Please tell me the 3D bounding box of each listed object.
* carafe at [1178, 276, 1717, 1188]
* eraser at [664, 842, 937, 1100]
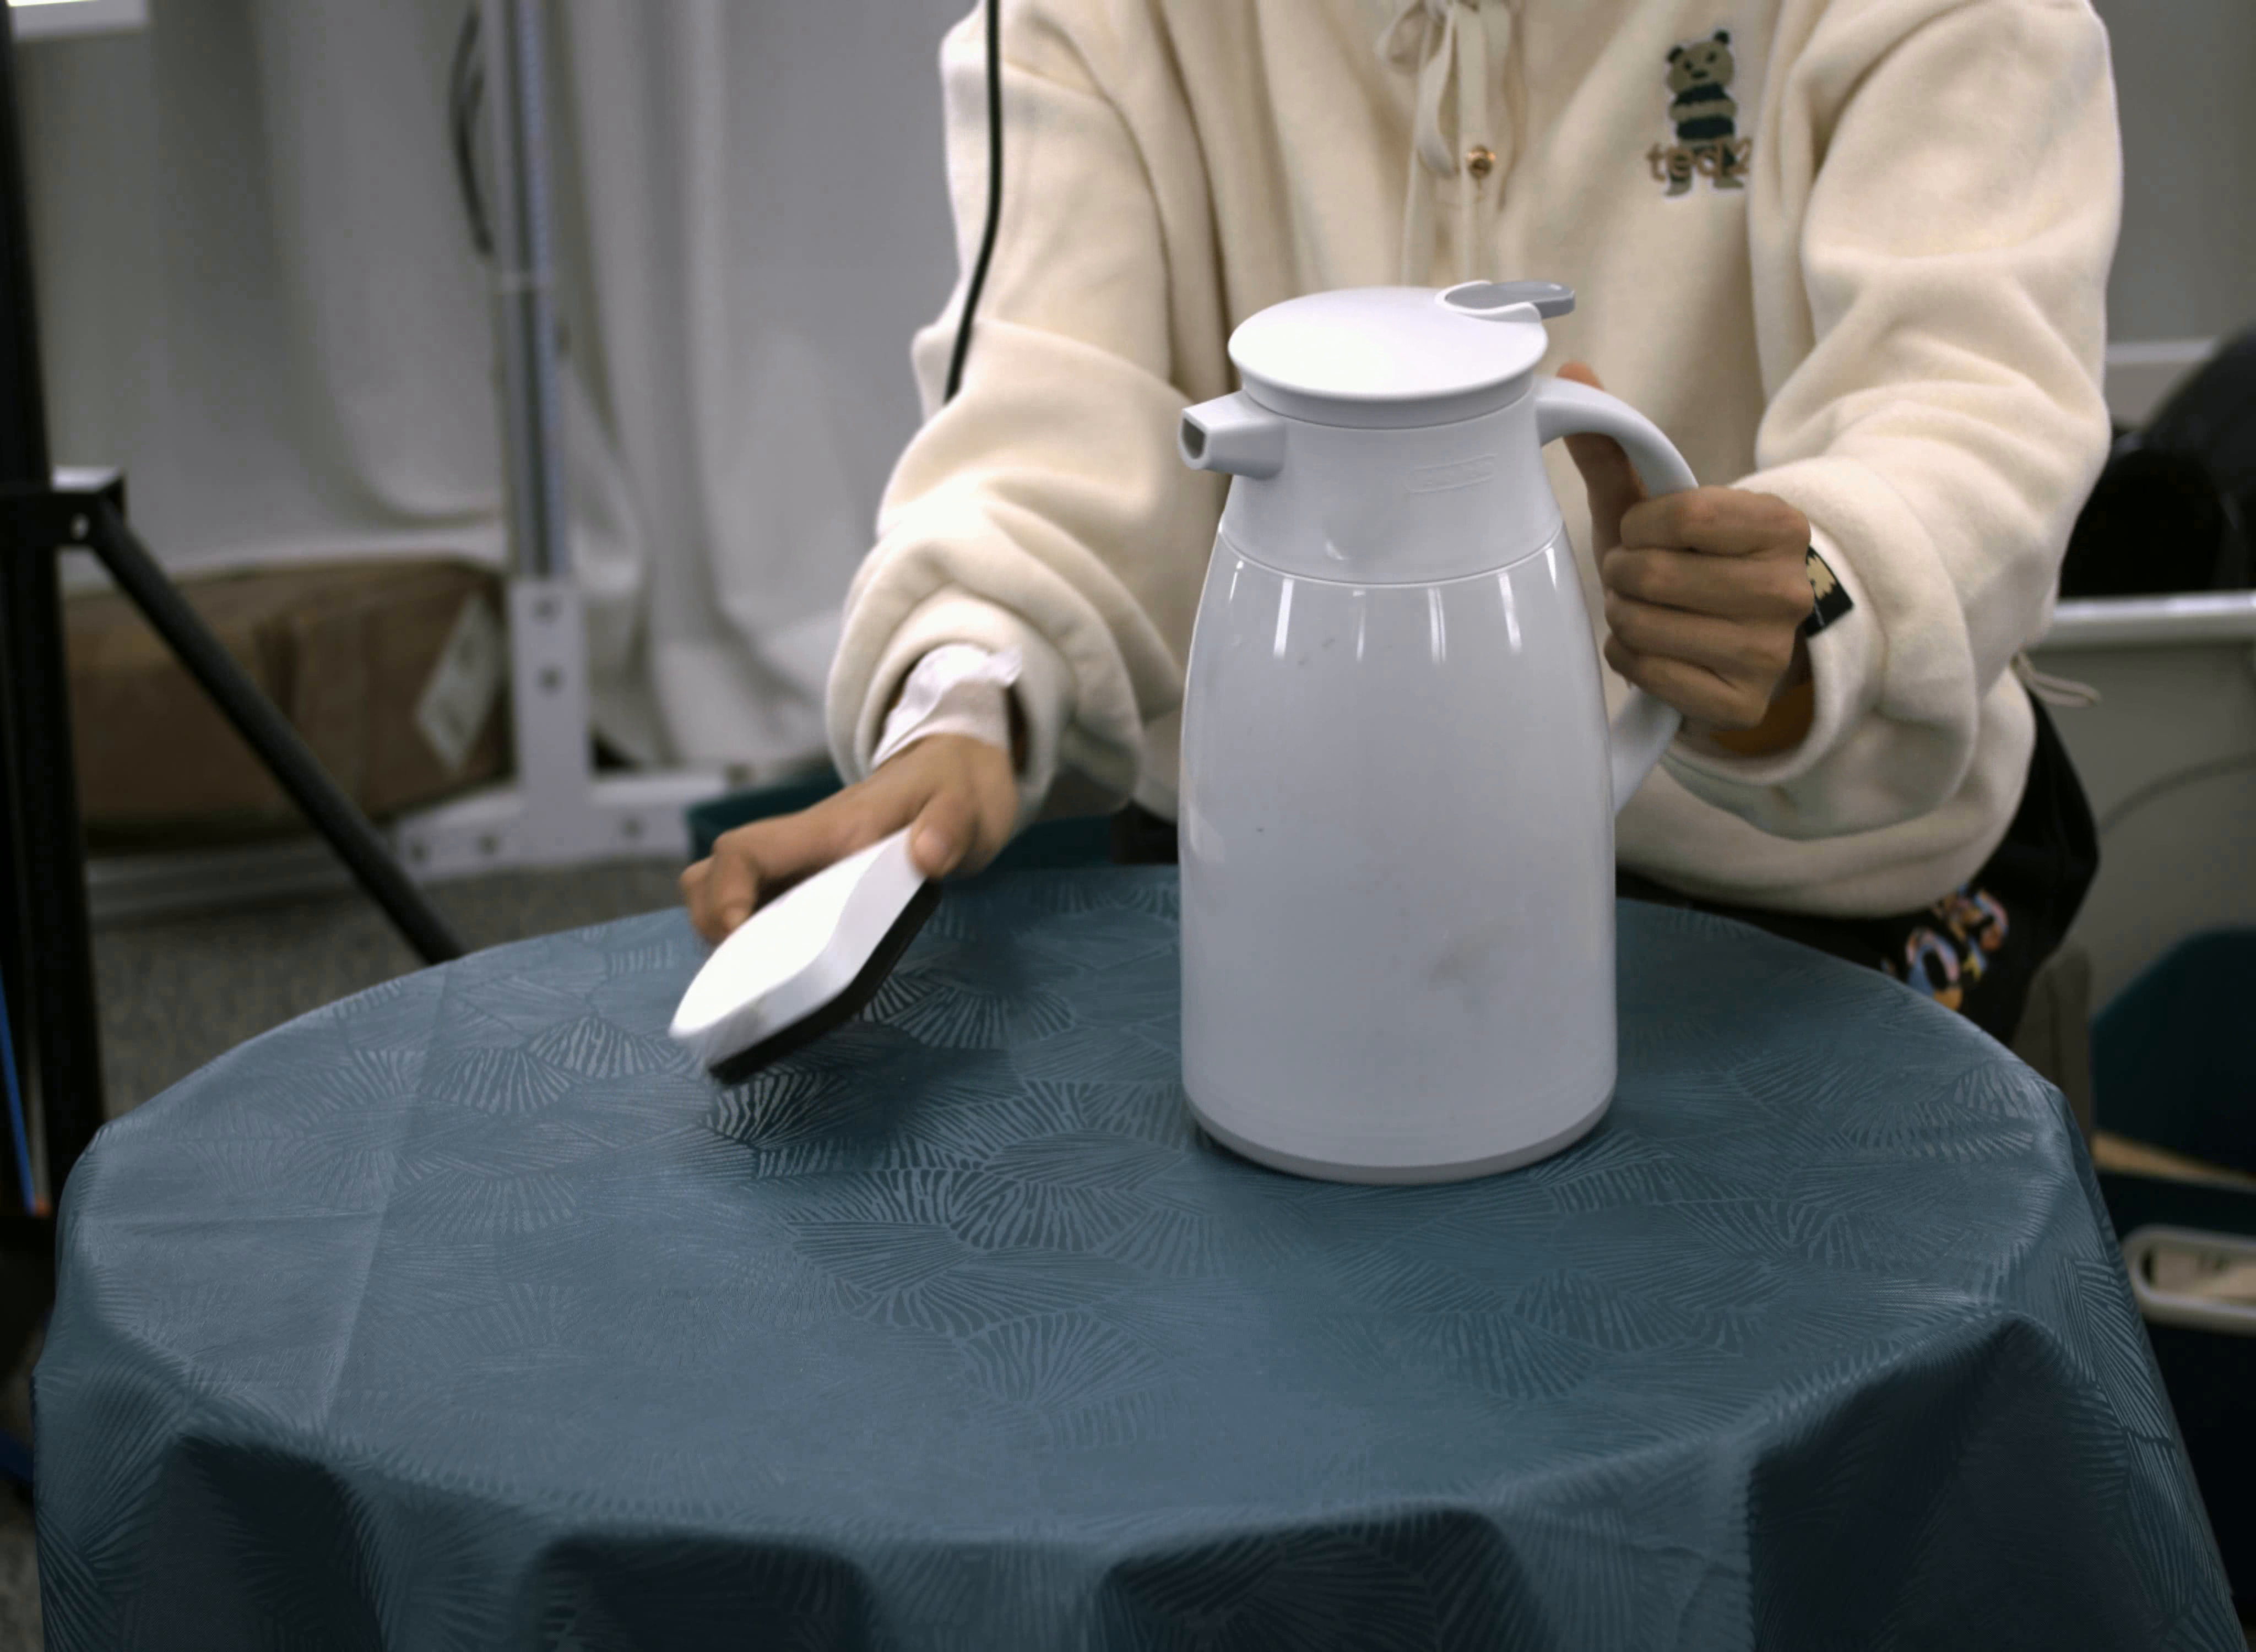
[{"bbox_3d":[0.095,-0.037,1.567,0.165,0.248,0.135,-10,24,-20],"label":"carafe"},{"bbox_3d":[-0.100,0.041,1.659,0.064,0.034,0.130,-26,12,20],"label":"eraser"}]
